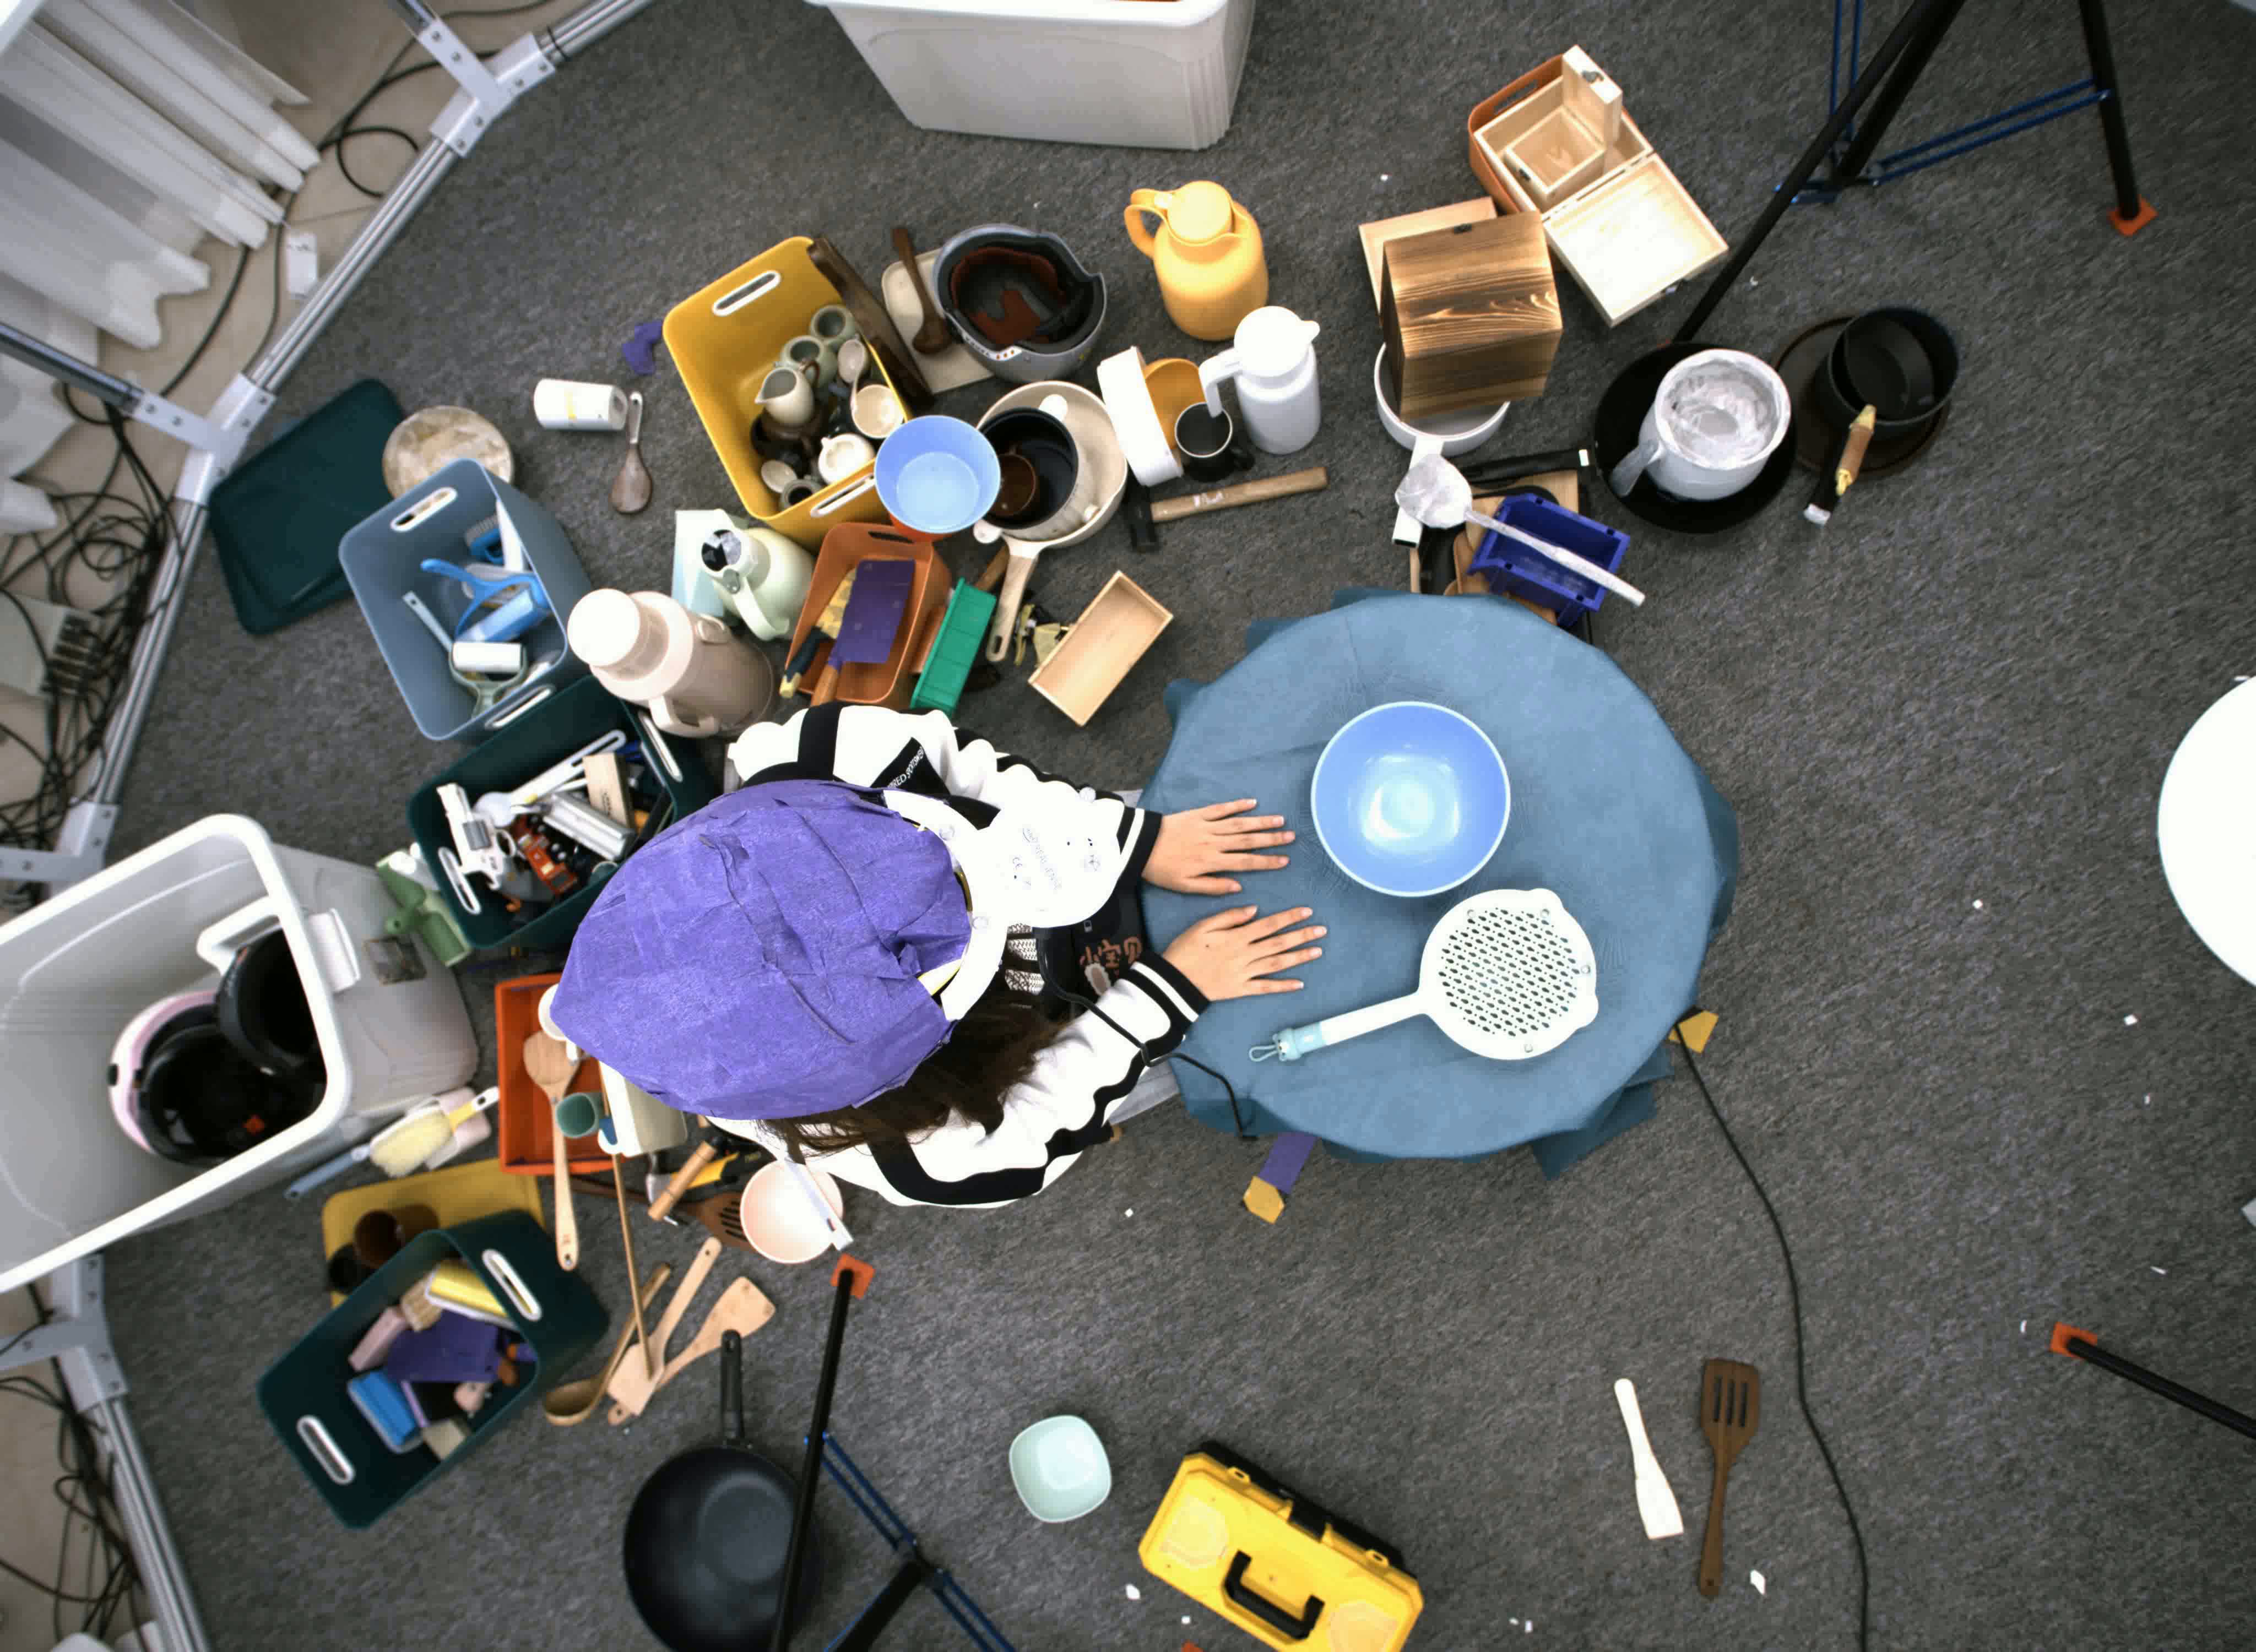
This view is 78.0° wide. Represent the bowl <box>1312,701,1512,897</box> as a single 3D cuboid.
[{"bbox_3d":[0.289,-0.024,1.413,0.197,0.095,0.195,-1,86,10],"label":"bowl"}]

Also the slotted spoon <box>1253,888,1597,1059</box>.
[{"bbox_3d":[0.296,0.180,1.420,0.361,0.075,0.168,-20,82,10],"label":"slotted spoon"}]
